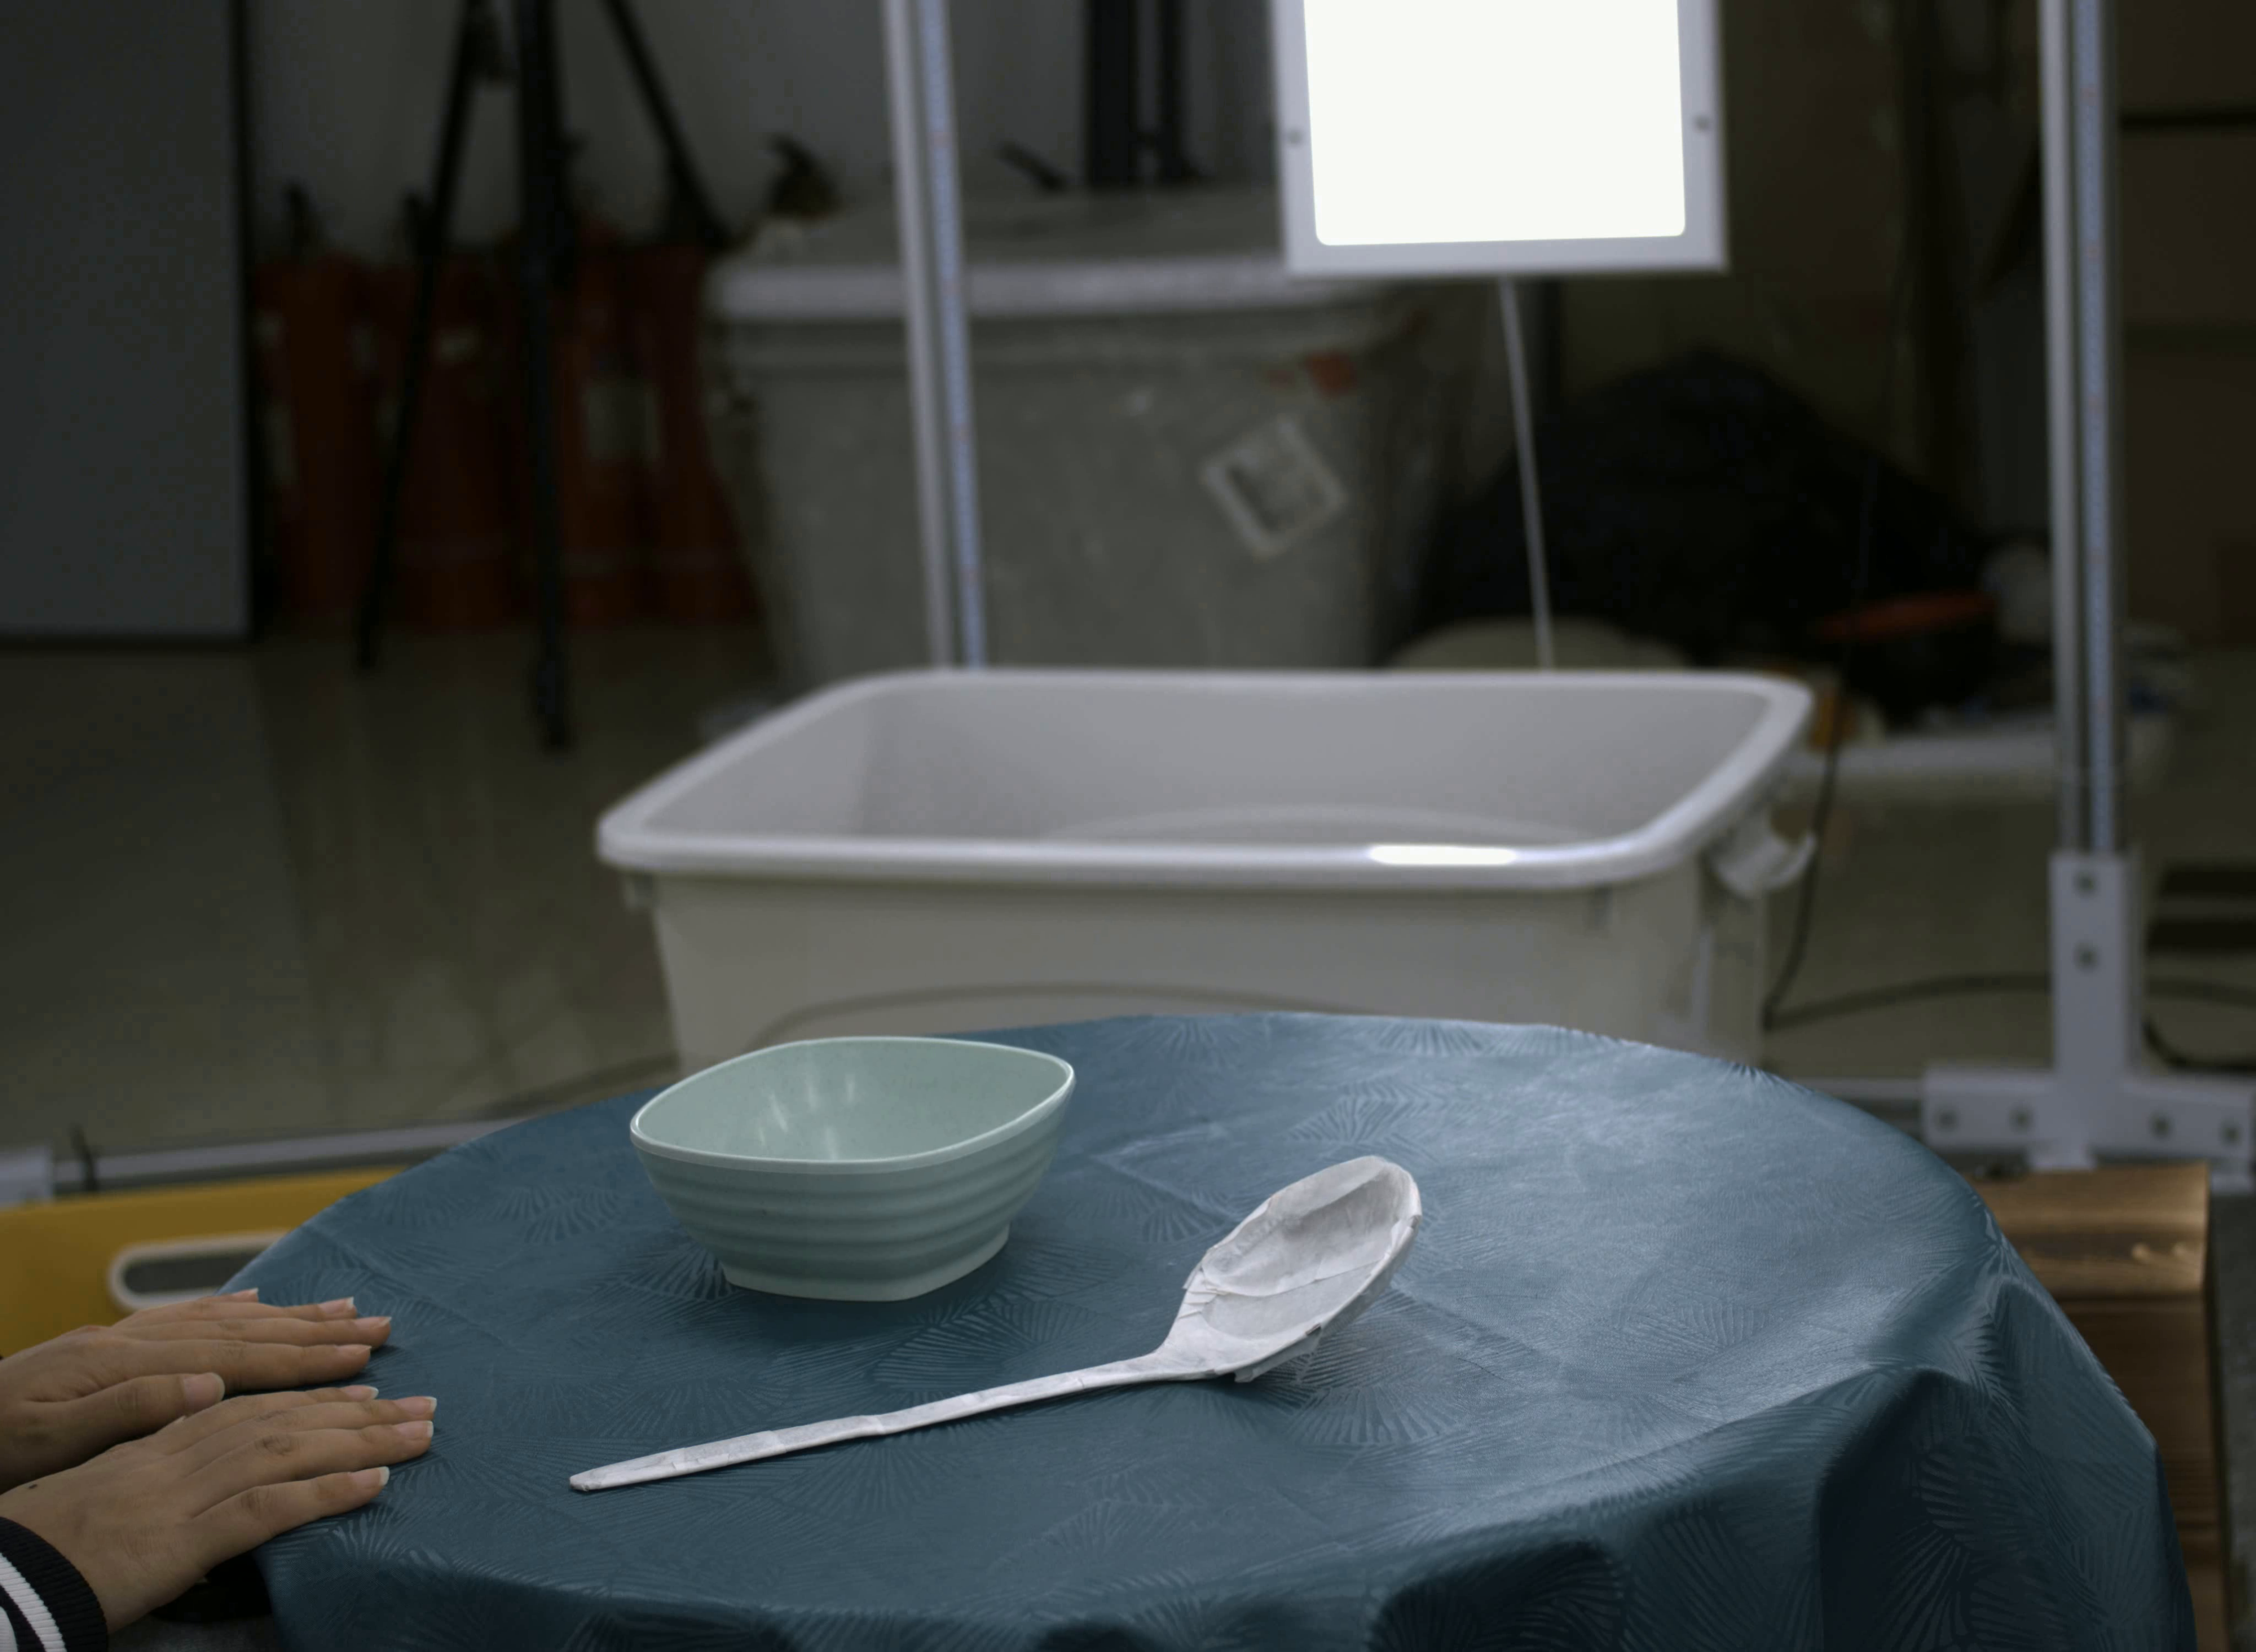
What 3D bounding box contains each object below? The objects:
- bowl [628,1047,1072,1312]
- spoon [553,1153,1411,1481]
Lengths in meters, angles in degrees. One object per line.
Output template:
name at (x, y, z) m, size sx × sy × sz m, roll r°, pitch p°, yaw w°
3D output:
bowl at (-0.090, 0.121, 1.845) m, size 0.151 × 0.059 × 0.151 m, roll -6°, pitch 14°, yaw 0°
spoon at (-0.045, 0.150, 1.699) m, size 0.274 × 0.059 × 0.101 m, roll -8°, pitch 9°, yaw -12°
